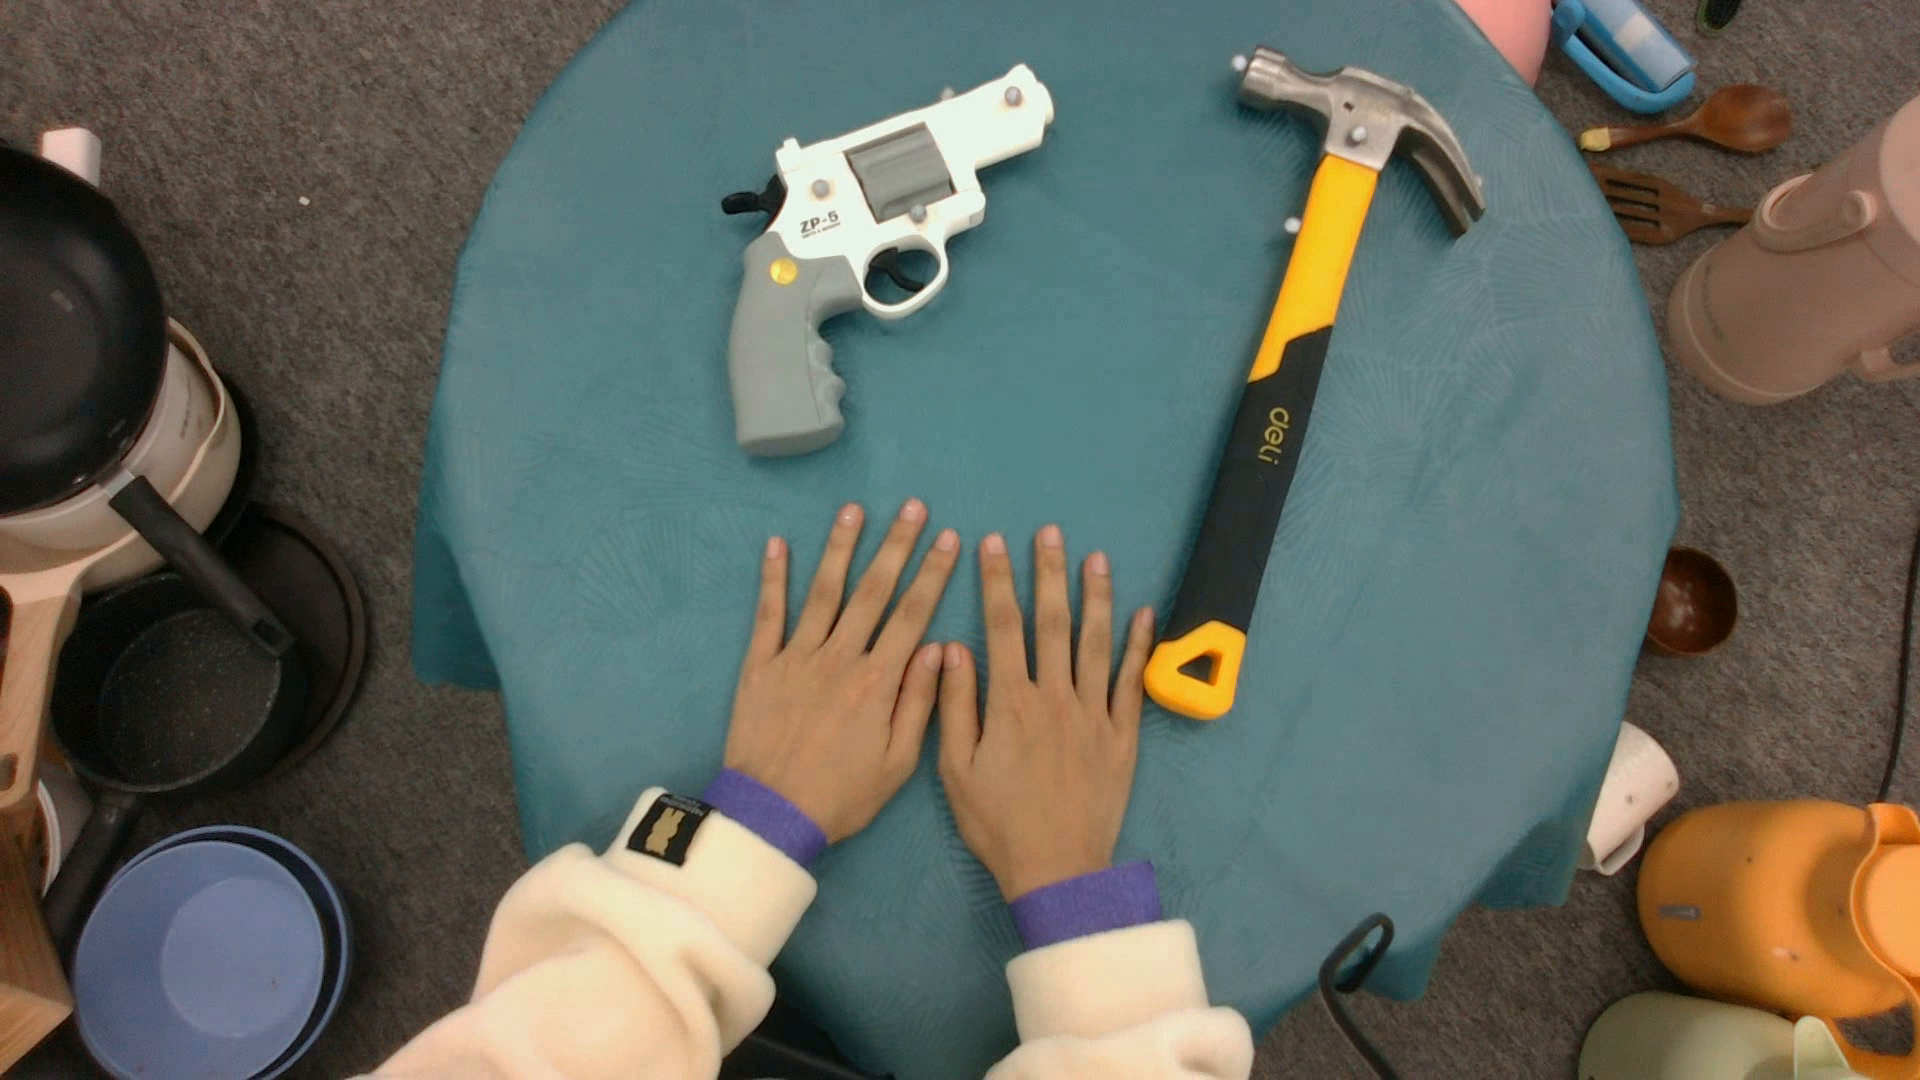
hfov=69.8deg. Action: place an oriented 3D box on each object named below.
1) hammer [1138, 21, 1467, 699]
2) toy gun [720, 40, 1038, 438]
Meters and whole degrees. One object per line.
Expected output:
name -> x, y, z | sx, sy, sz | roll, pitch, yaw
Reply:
hammer -> 0.150, -0.087, 0.658 | 0.131, 0.032, 0.339 | 20, 75, -2
toy gun -> -0.037, -0.146, 0.655 | 0.209, 0.039, 0.142 | -25, 78, -9
